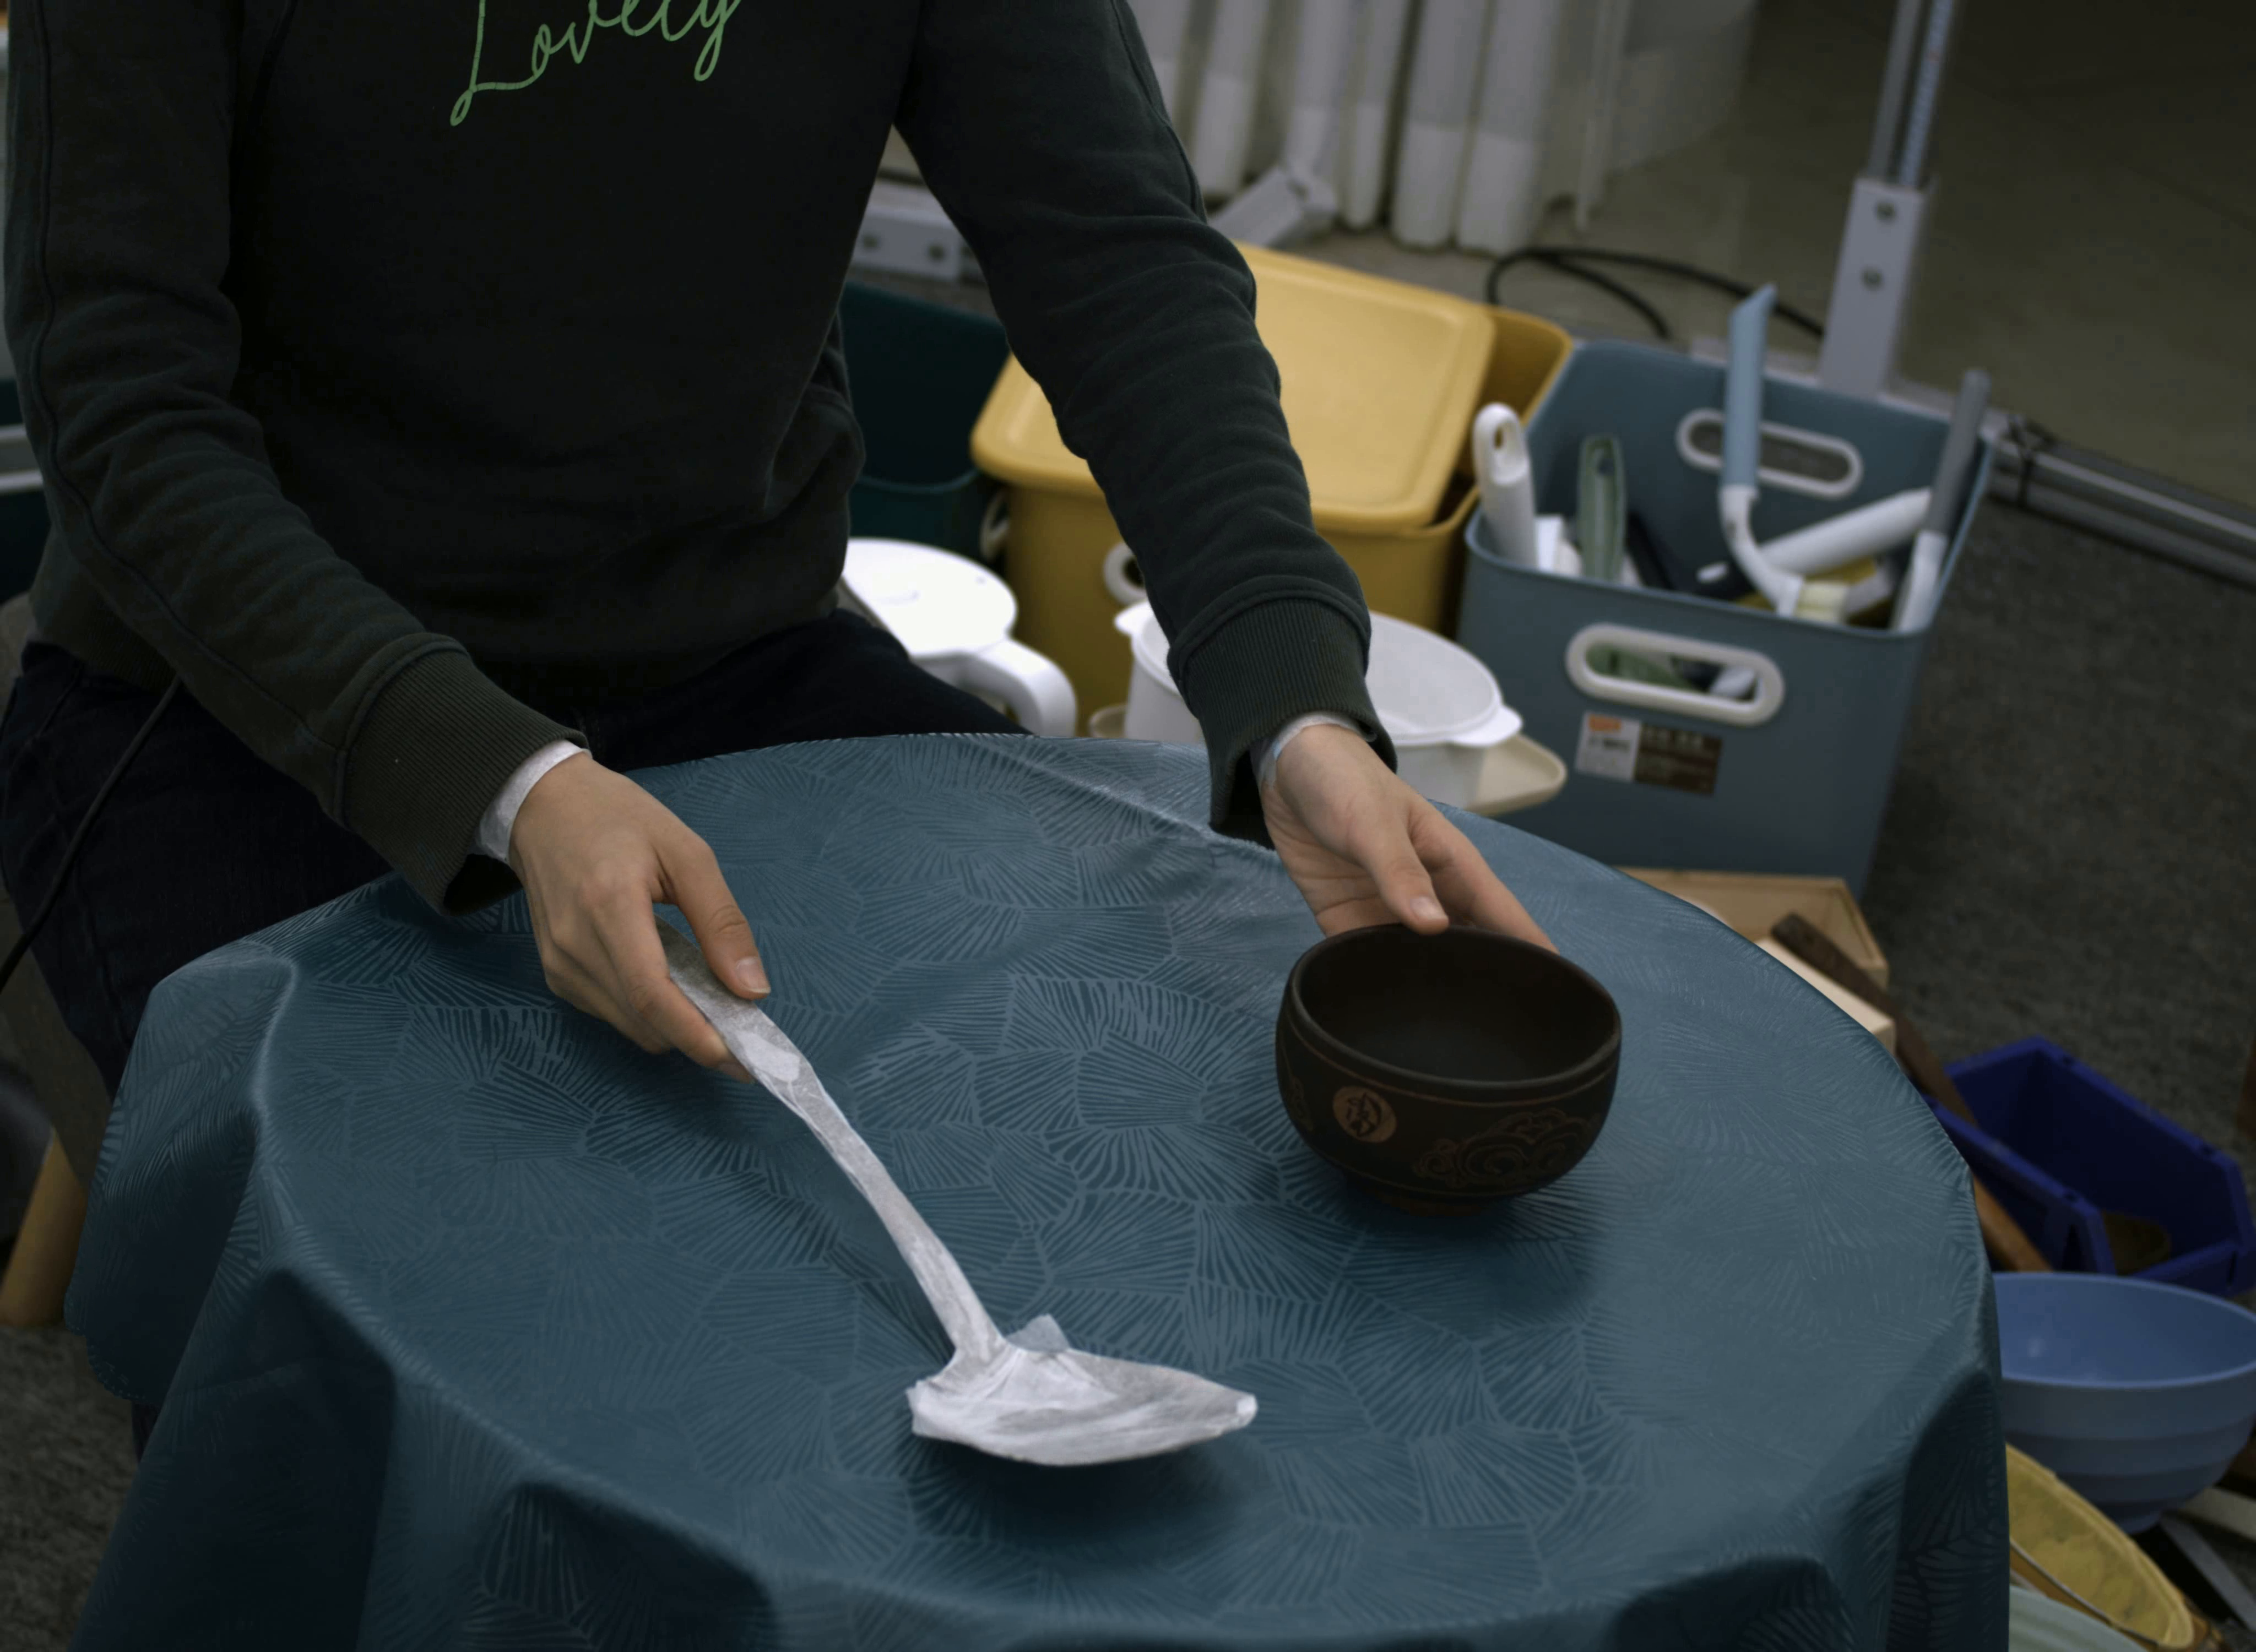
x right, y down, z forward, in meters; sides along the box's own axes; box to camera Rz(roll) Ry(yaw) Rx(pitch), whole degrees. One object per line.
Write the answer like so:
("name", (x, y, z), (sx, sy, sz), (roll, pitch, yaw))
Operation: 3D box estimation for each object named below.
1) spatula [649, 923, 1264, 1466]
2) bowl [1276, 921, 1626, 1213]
("spatula", (-0.080, 0.112, 1.744), (0.098, 0.044, 0.368), (-9, 35, -28))
("bowl", (0.108, 0.089, 1.815), (0.117, 0.069, 0.119), (6, 25, -3))
